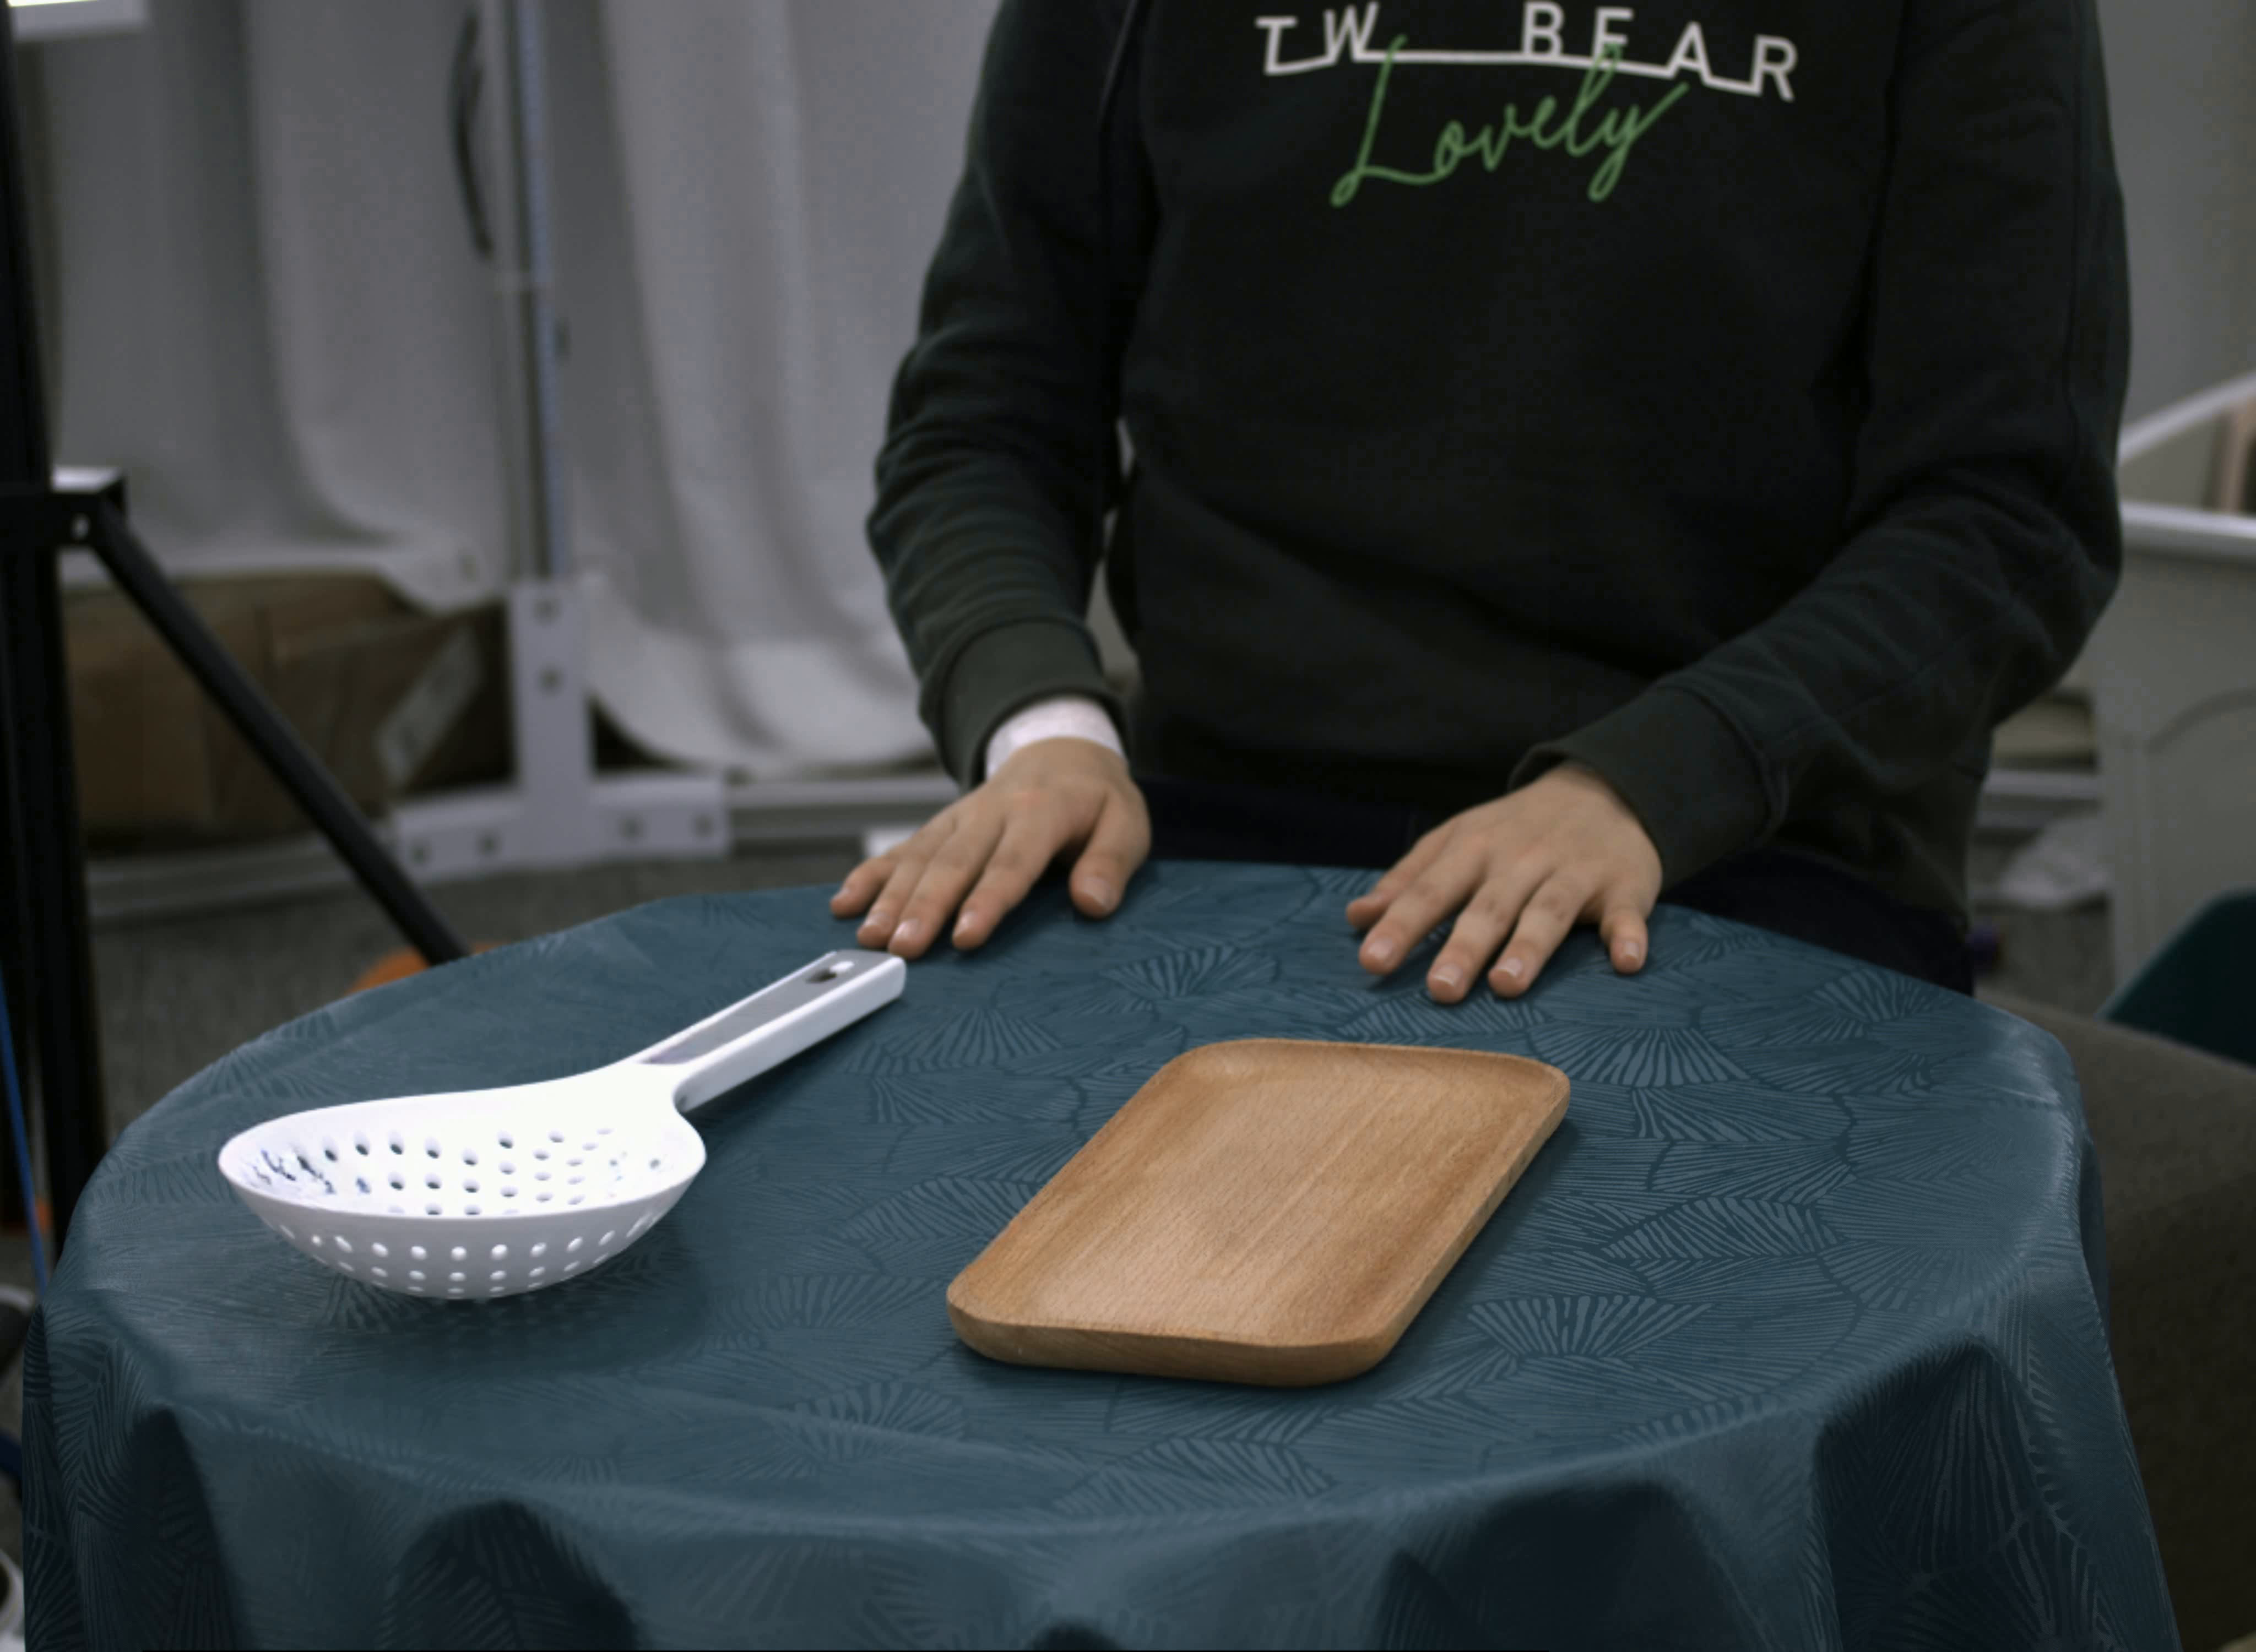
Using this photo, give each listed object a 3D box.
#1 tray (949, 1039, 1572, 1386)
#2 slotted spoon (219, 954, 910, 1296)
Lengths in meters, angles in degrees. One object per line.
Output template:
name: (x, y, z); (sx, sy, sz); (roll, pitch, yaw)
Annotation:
tray: (0.043, 0.108, 1.521); (0.132, 0.023, 0.248); (5, 16, 18)
slotted spoon: (-0.148, 0.080, 1.598); (0.138, 0.046, 0.345); (6, 17, 21)
